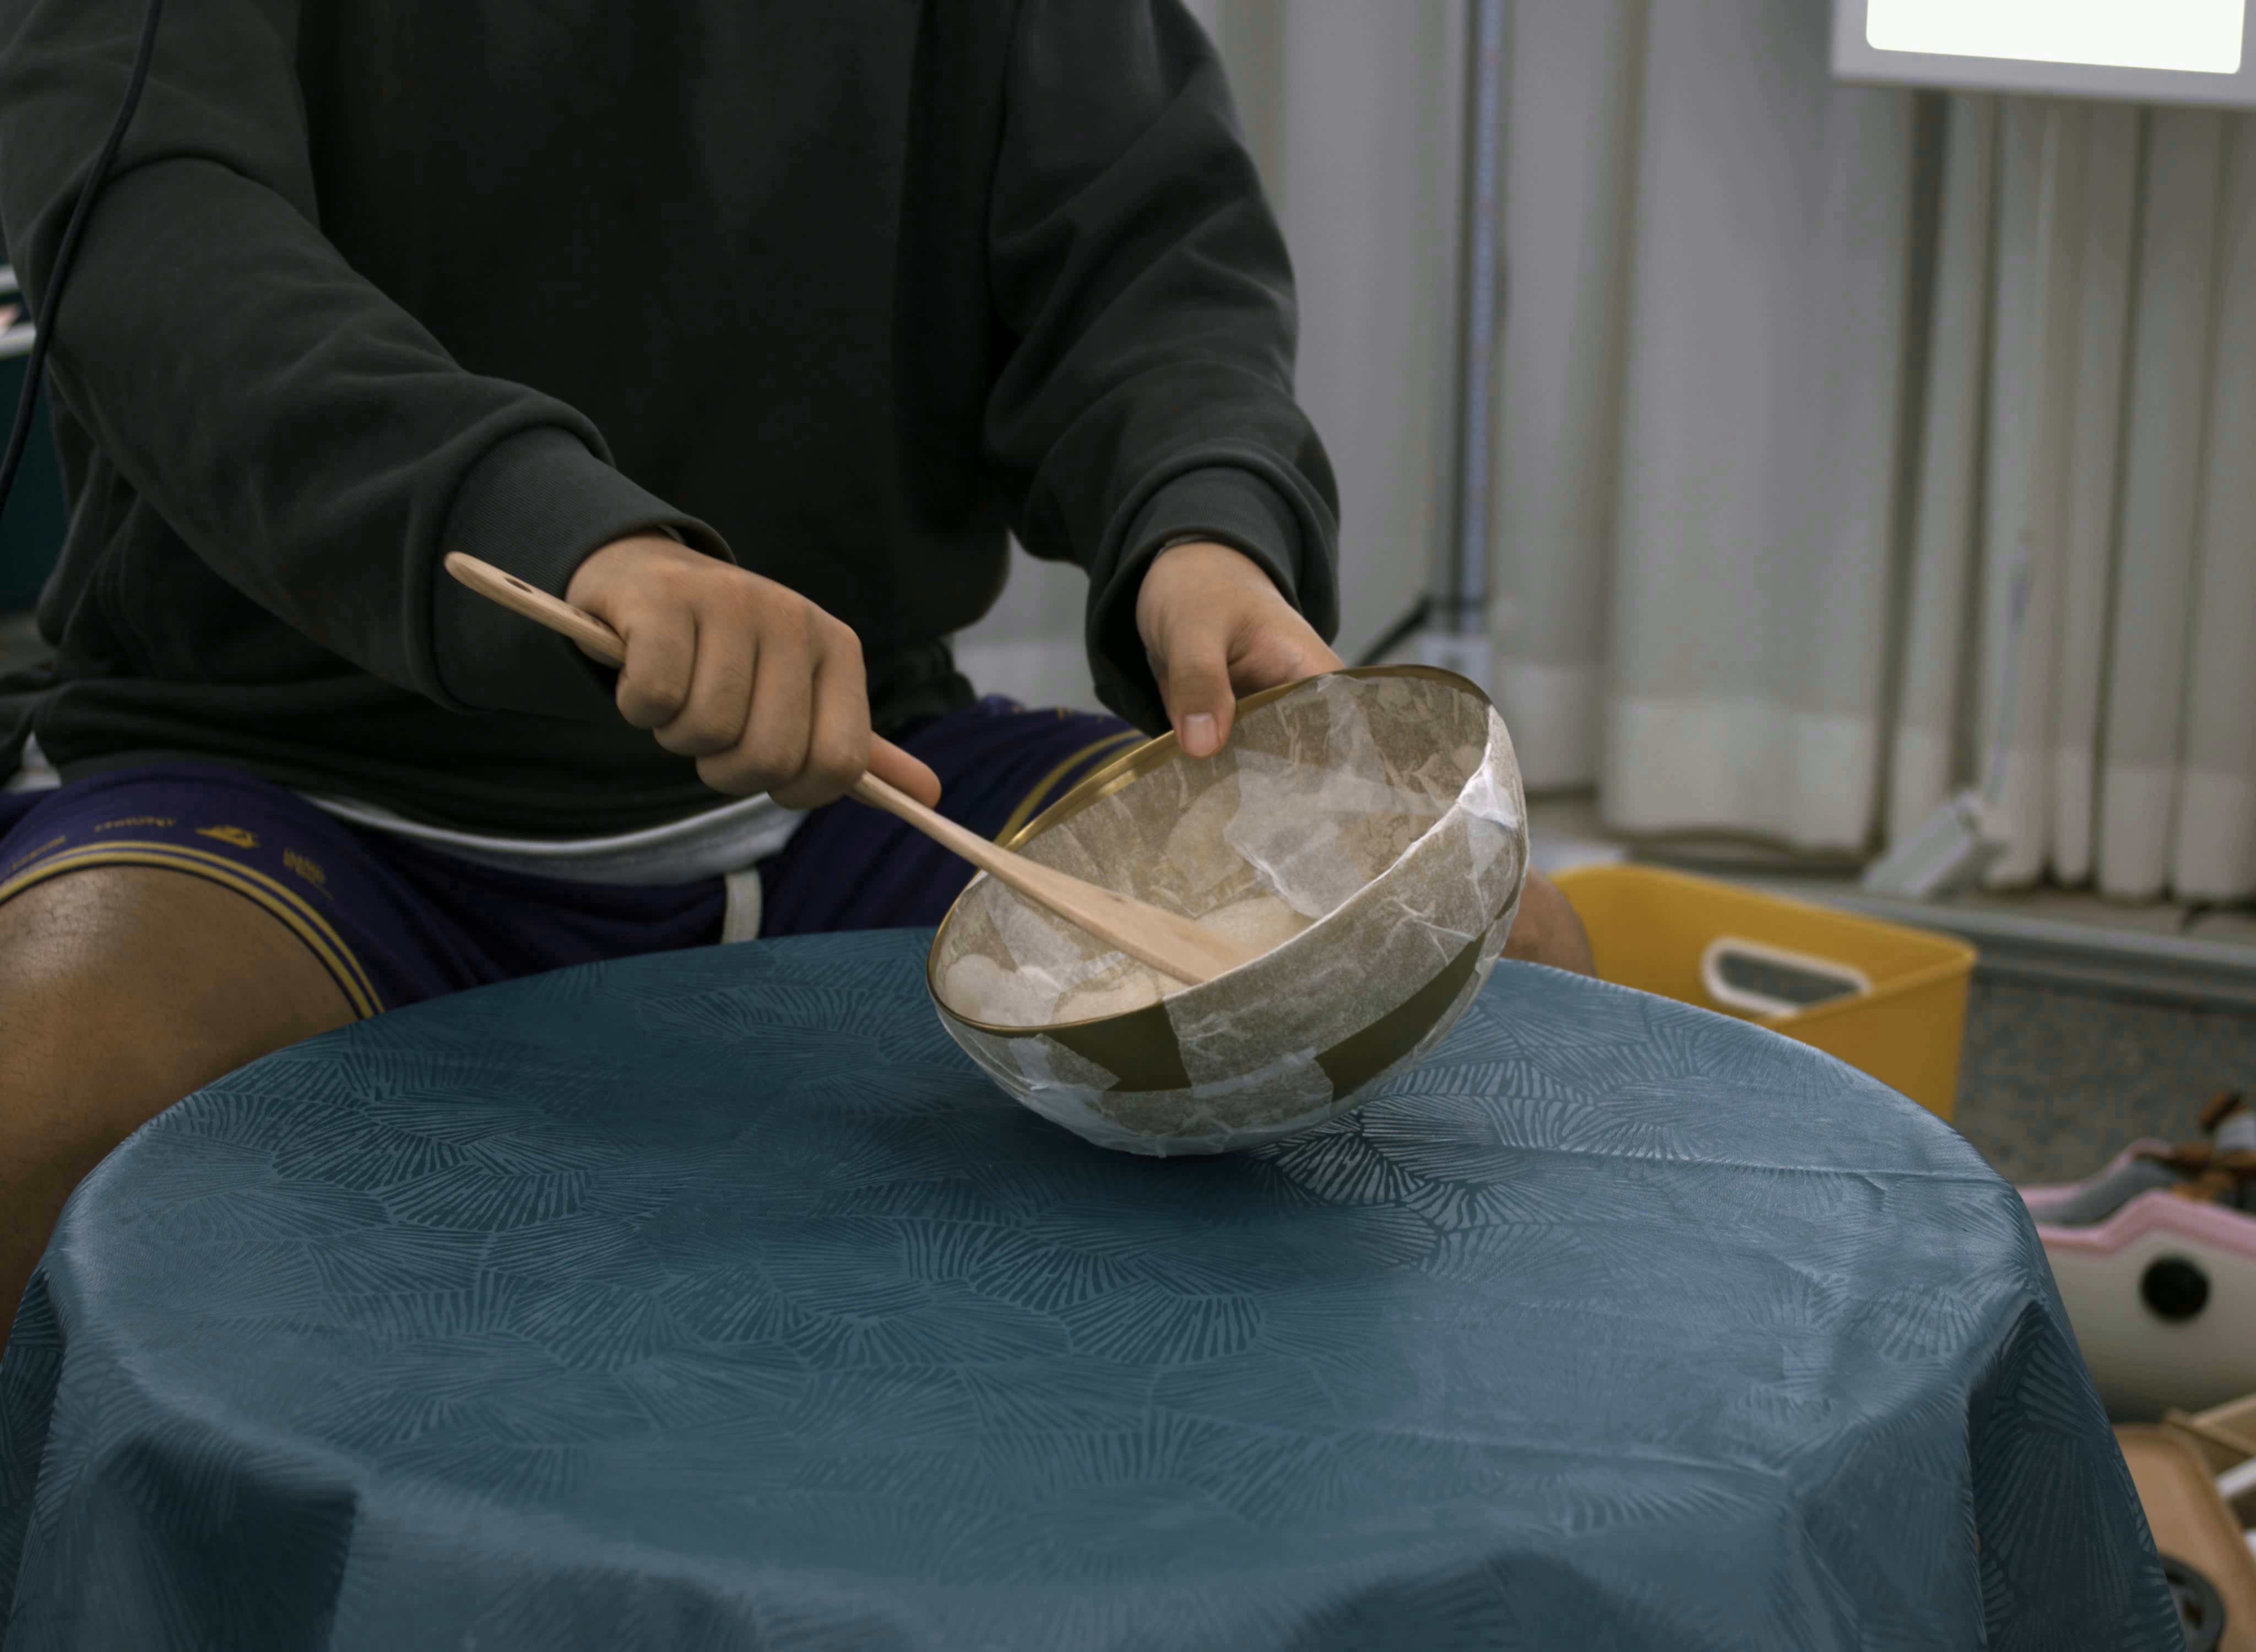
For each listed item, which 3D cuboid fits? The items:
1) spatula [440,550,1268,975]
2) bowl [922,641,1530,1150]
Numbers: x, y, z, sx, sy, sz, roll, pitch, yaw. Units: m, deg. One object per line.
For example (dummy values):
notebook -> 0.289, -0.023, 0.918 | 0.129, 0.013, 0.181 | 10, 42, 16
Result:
spatula -> -0.067, -0.010, 1.634 | 0.329, 0.016, 0.079 | 28, 10, -17
bowl -> 0.043, 0.038, 1.670 | 0.214, 0.095, 0.213 | -24, 23, 12
